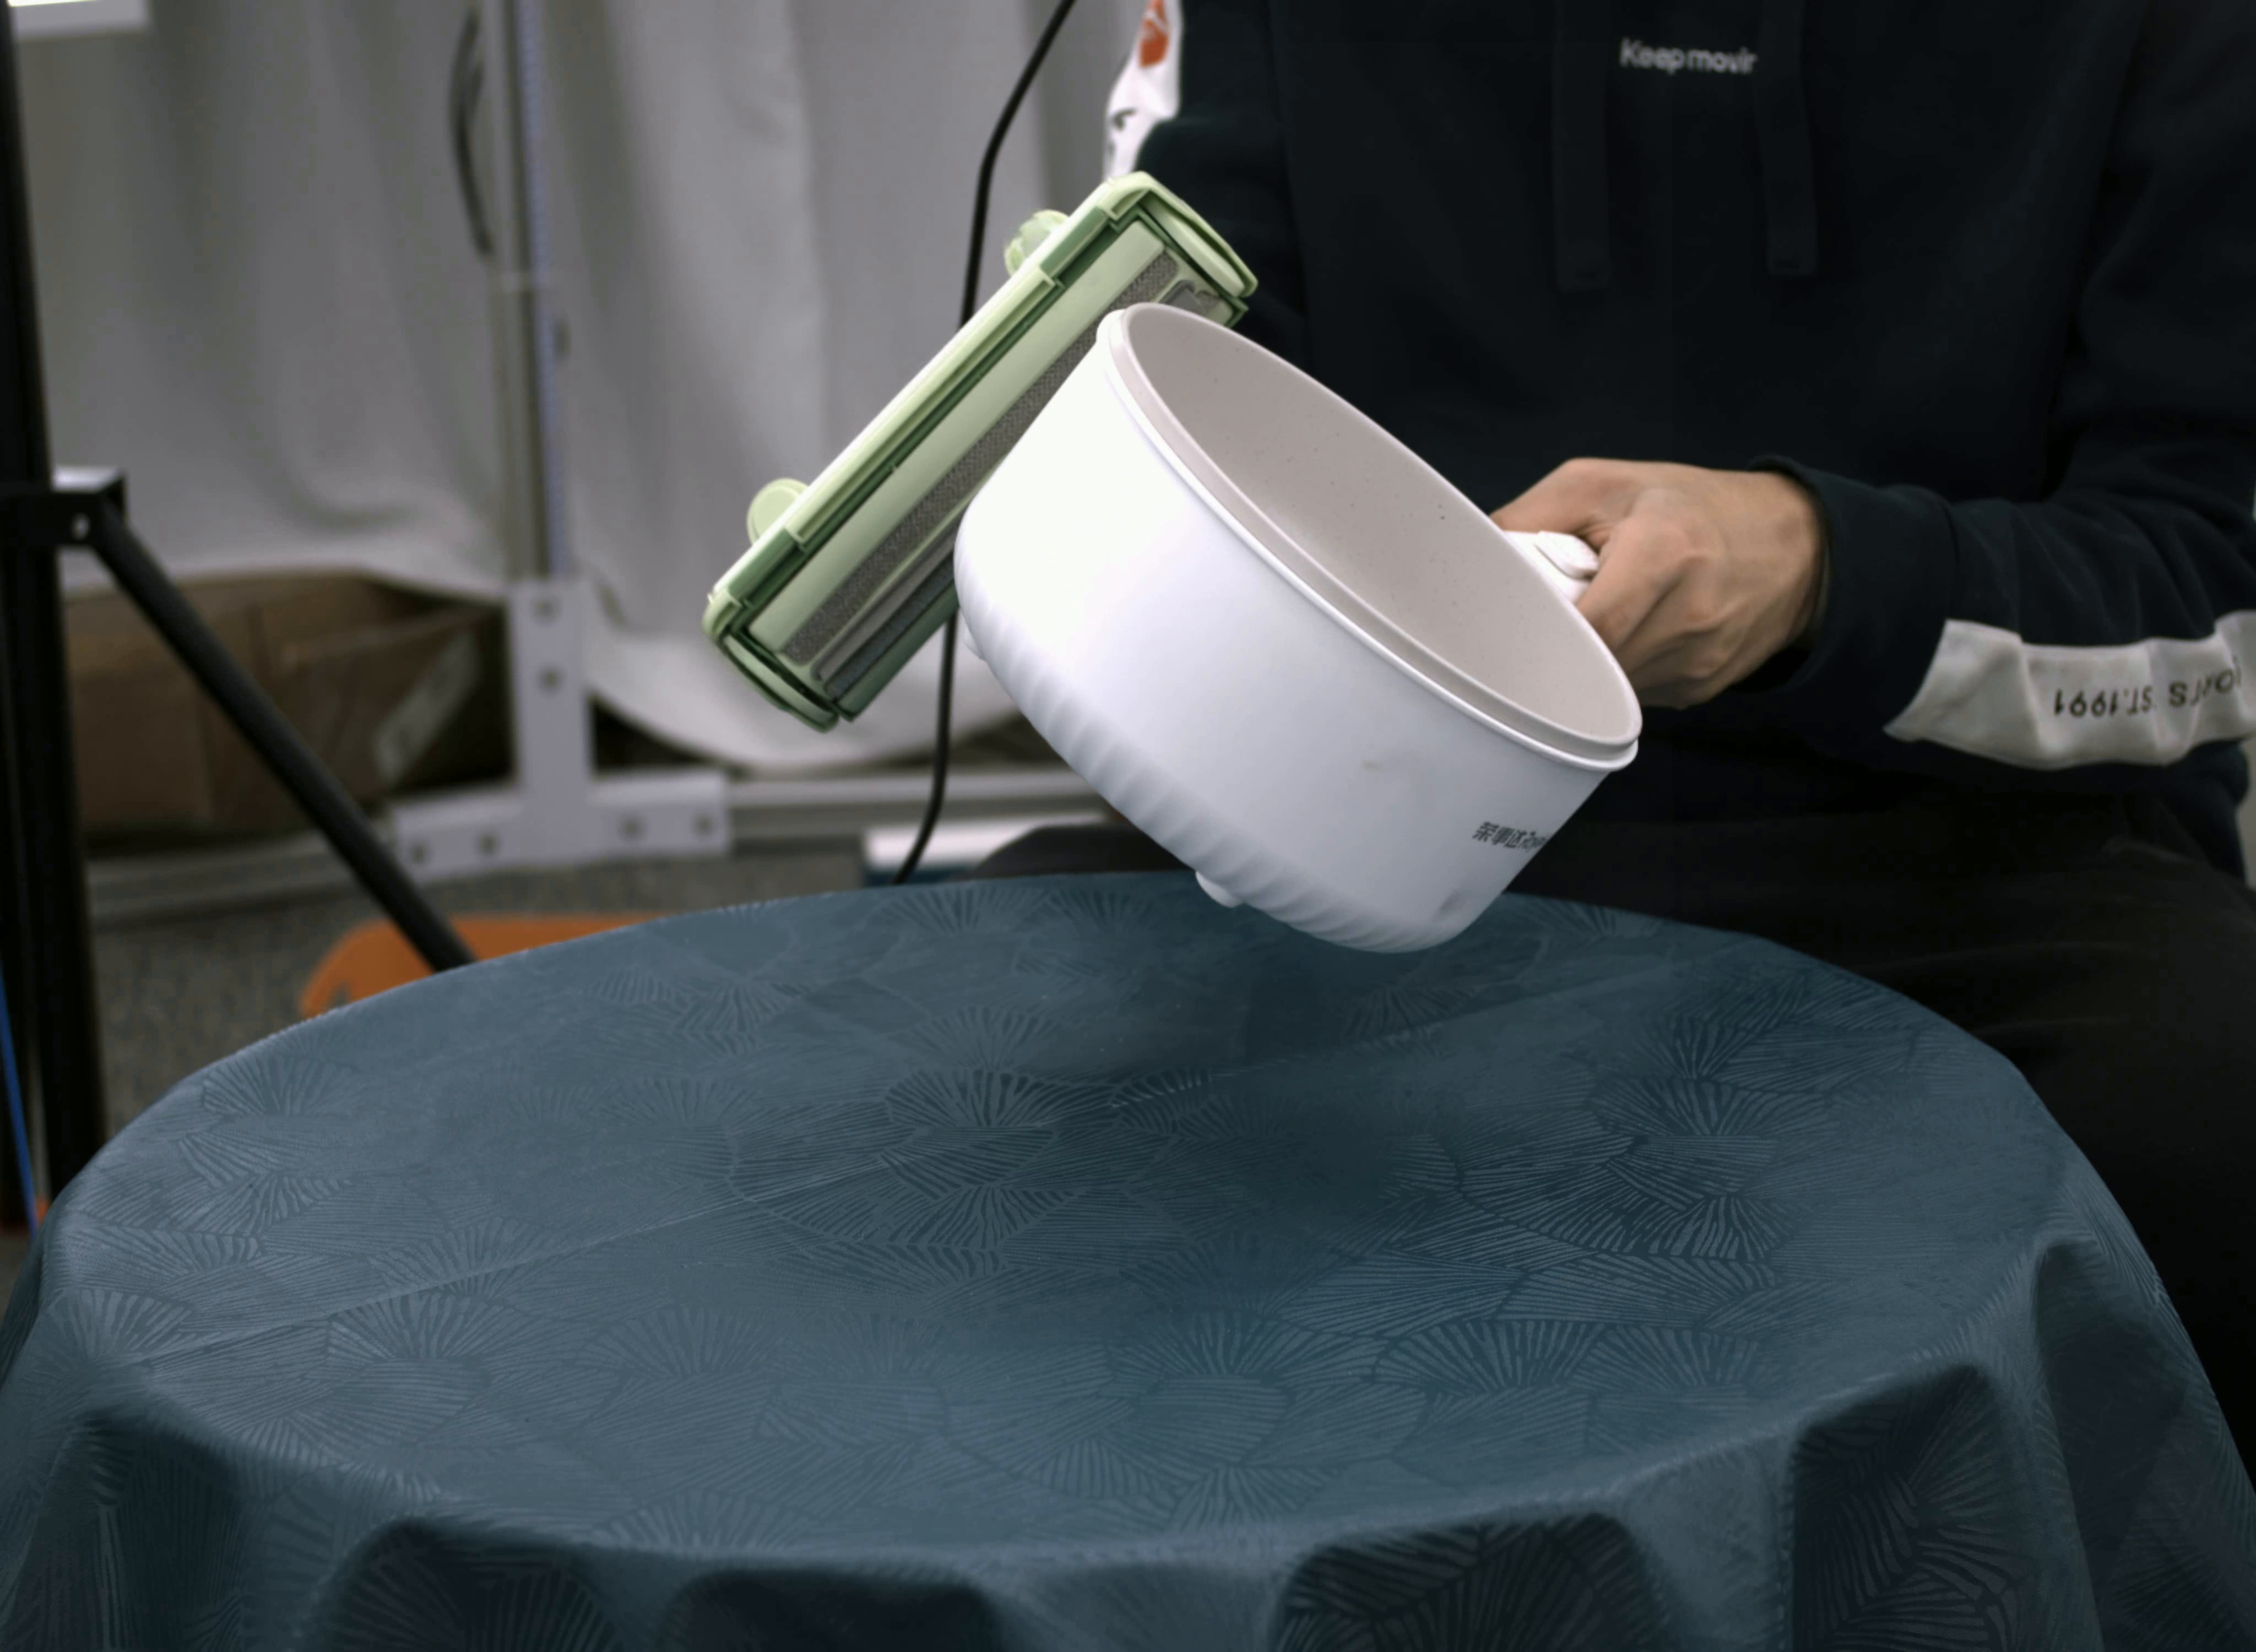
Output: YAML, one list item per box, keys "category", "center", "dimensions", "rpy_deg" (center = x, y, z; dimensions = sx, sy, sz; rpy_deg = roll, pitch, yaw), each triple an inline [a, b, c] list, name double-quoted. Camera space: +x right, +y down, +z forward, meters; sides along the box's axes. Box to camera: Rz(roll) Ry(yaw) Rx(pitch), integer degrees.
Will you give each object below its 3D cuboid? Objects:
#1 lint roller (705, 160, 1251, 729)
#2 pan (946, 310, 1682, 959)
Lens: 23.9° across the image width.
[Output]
- category: "lint roller"
  center: [-0.037, -0.113, 1.682]
  dimensions: [0.083, 0.199, 0.180]
  rpy_deg: [46, 6, 17]
- category: "pan"
  center: [0.073, -0.048, 1.628]
  dimensions: [0.204, 0.102, 0.347]
  rpy_deg: [44, 16, 20]
